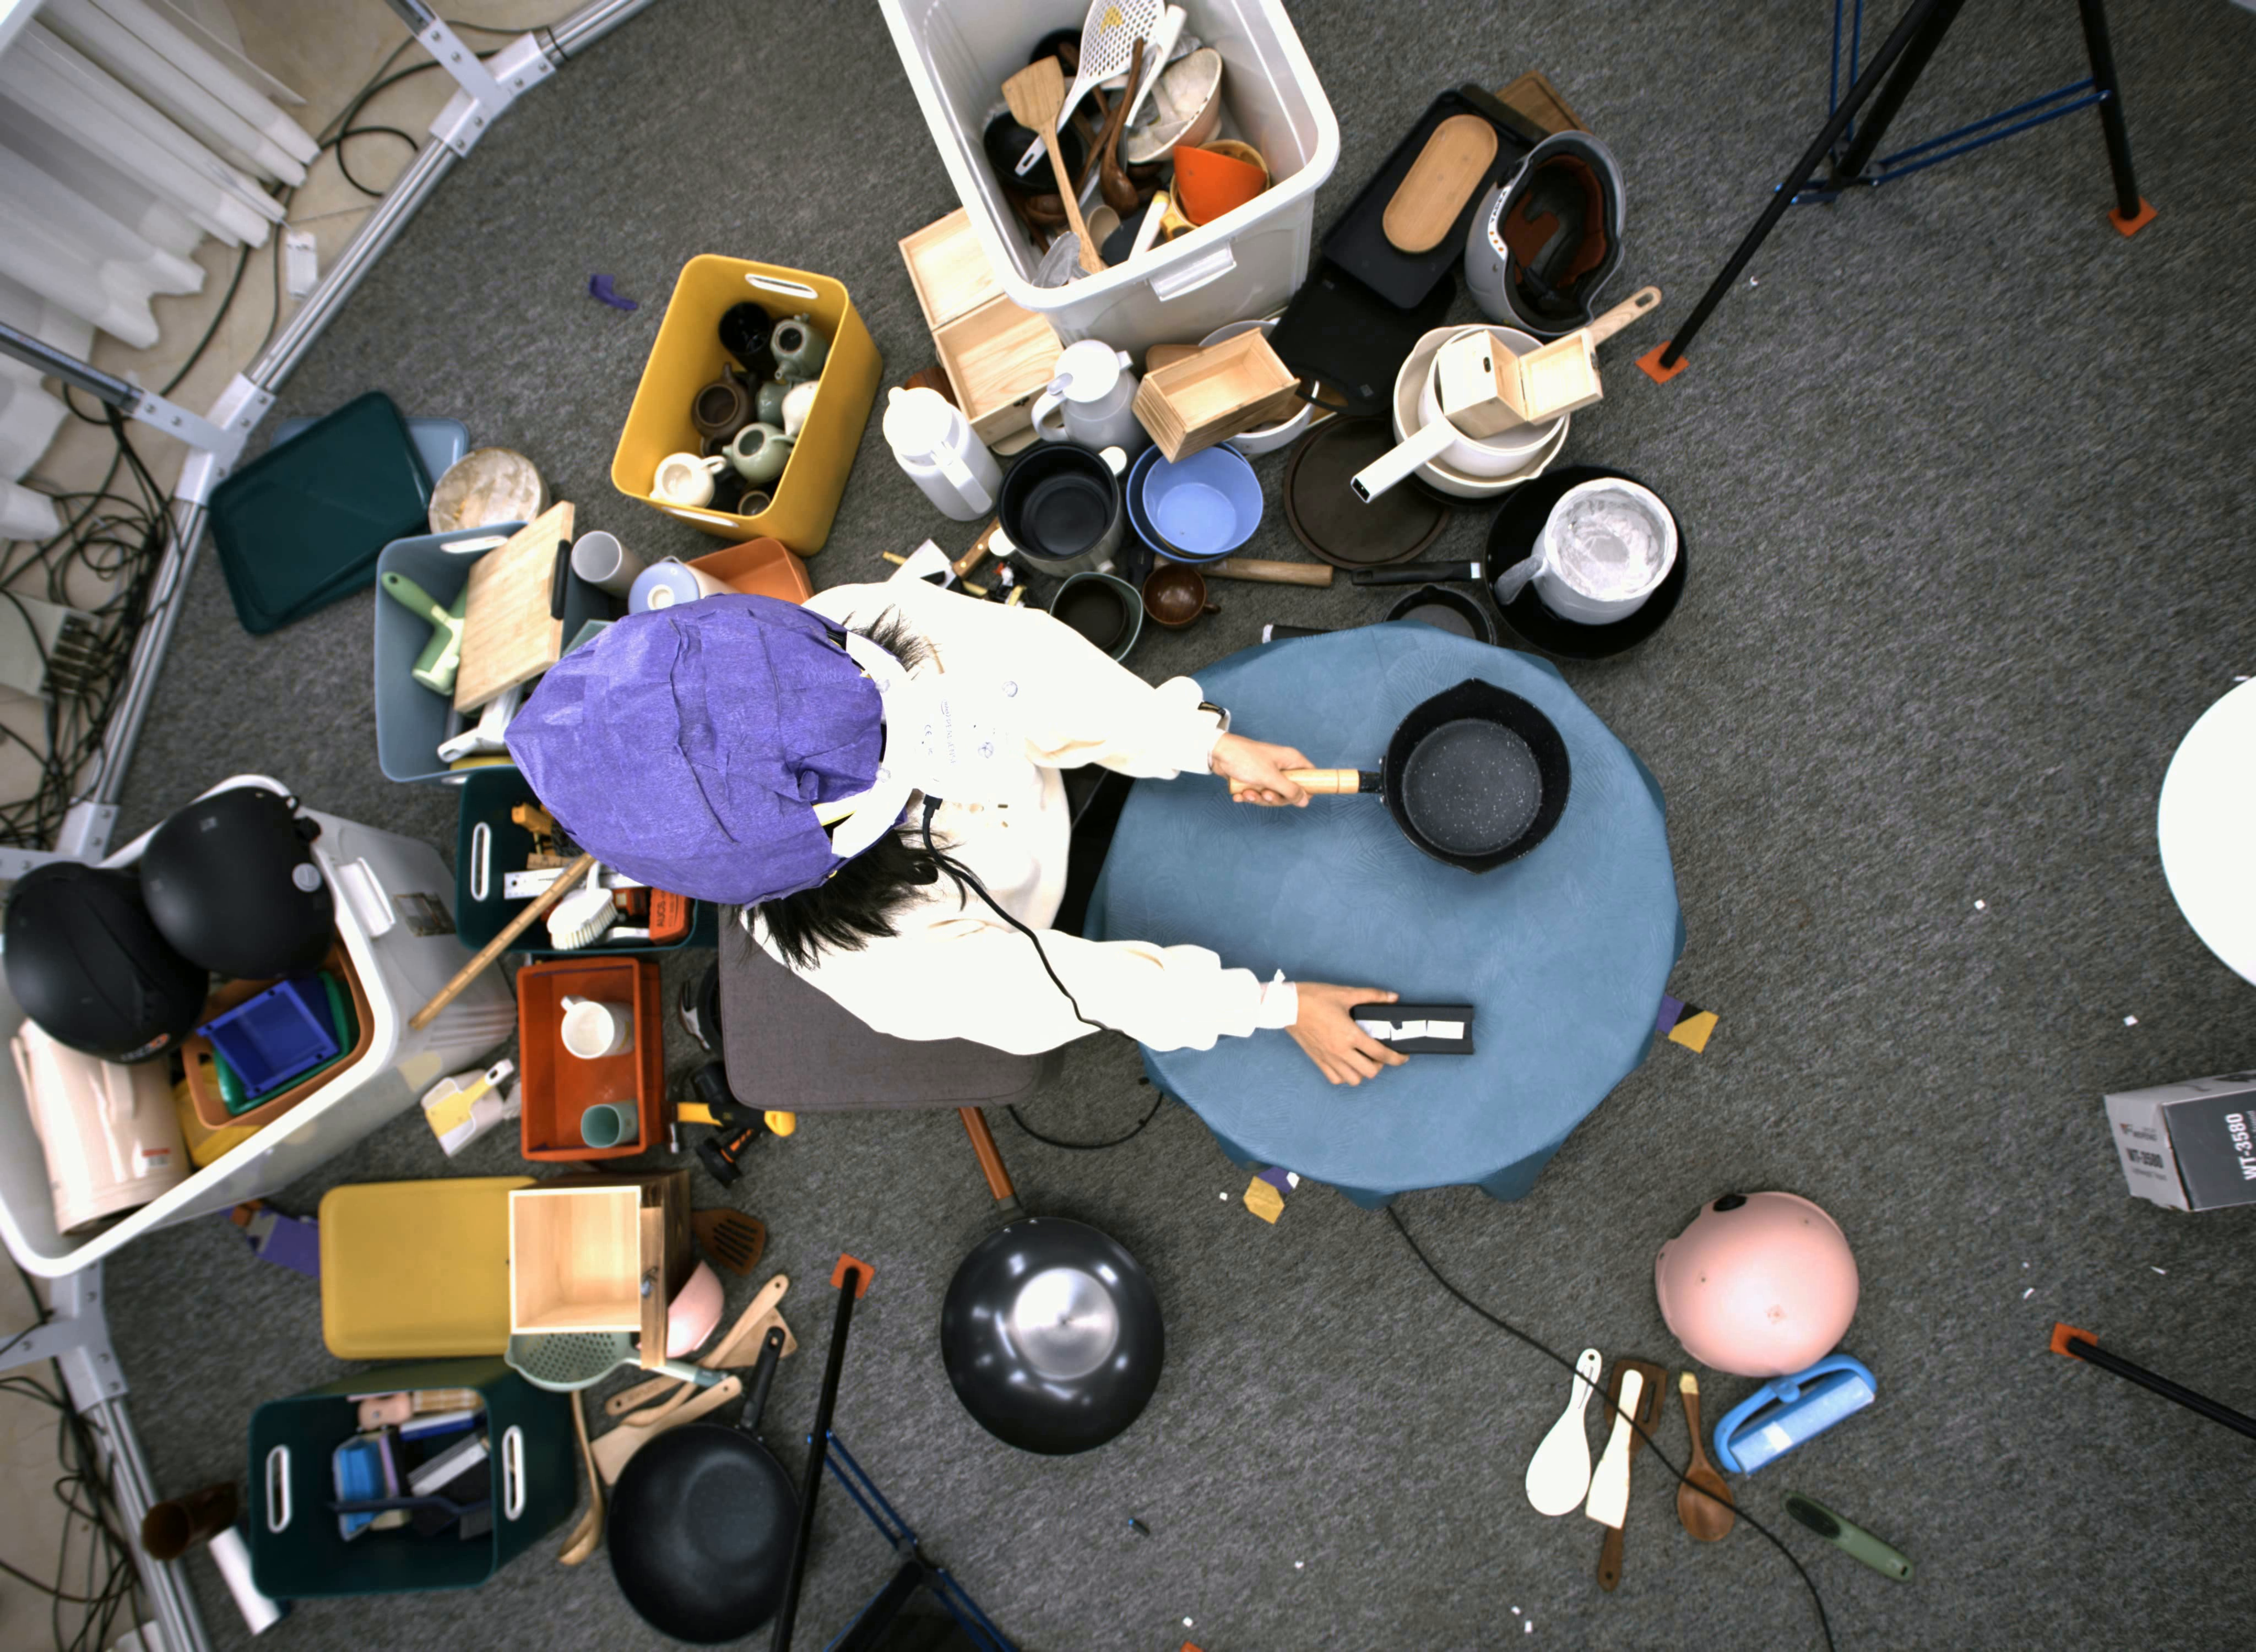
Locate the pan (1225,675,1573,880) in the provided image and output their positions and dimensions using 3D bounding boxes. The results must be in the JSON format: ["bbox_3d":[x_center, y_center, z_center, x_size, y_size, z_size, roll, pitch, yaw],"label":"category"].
[{"bbox_3d":[0.274,-0.044,1.408,0.344,0.108,0.206,-3,85,9],"label":"pan"}]

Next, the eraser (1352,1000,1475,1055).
[{"bbox_3d":[0.296,0.207,1.433,0.126,0.030,0.053,0,87,10],"label":"eraser"}]
